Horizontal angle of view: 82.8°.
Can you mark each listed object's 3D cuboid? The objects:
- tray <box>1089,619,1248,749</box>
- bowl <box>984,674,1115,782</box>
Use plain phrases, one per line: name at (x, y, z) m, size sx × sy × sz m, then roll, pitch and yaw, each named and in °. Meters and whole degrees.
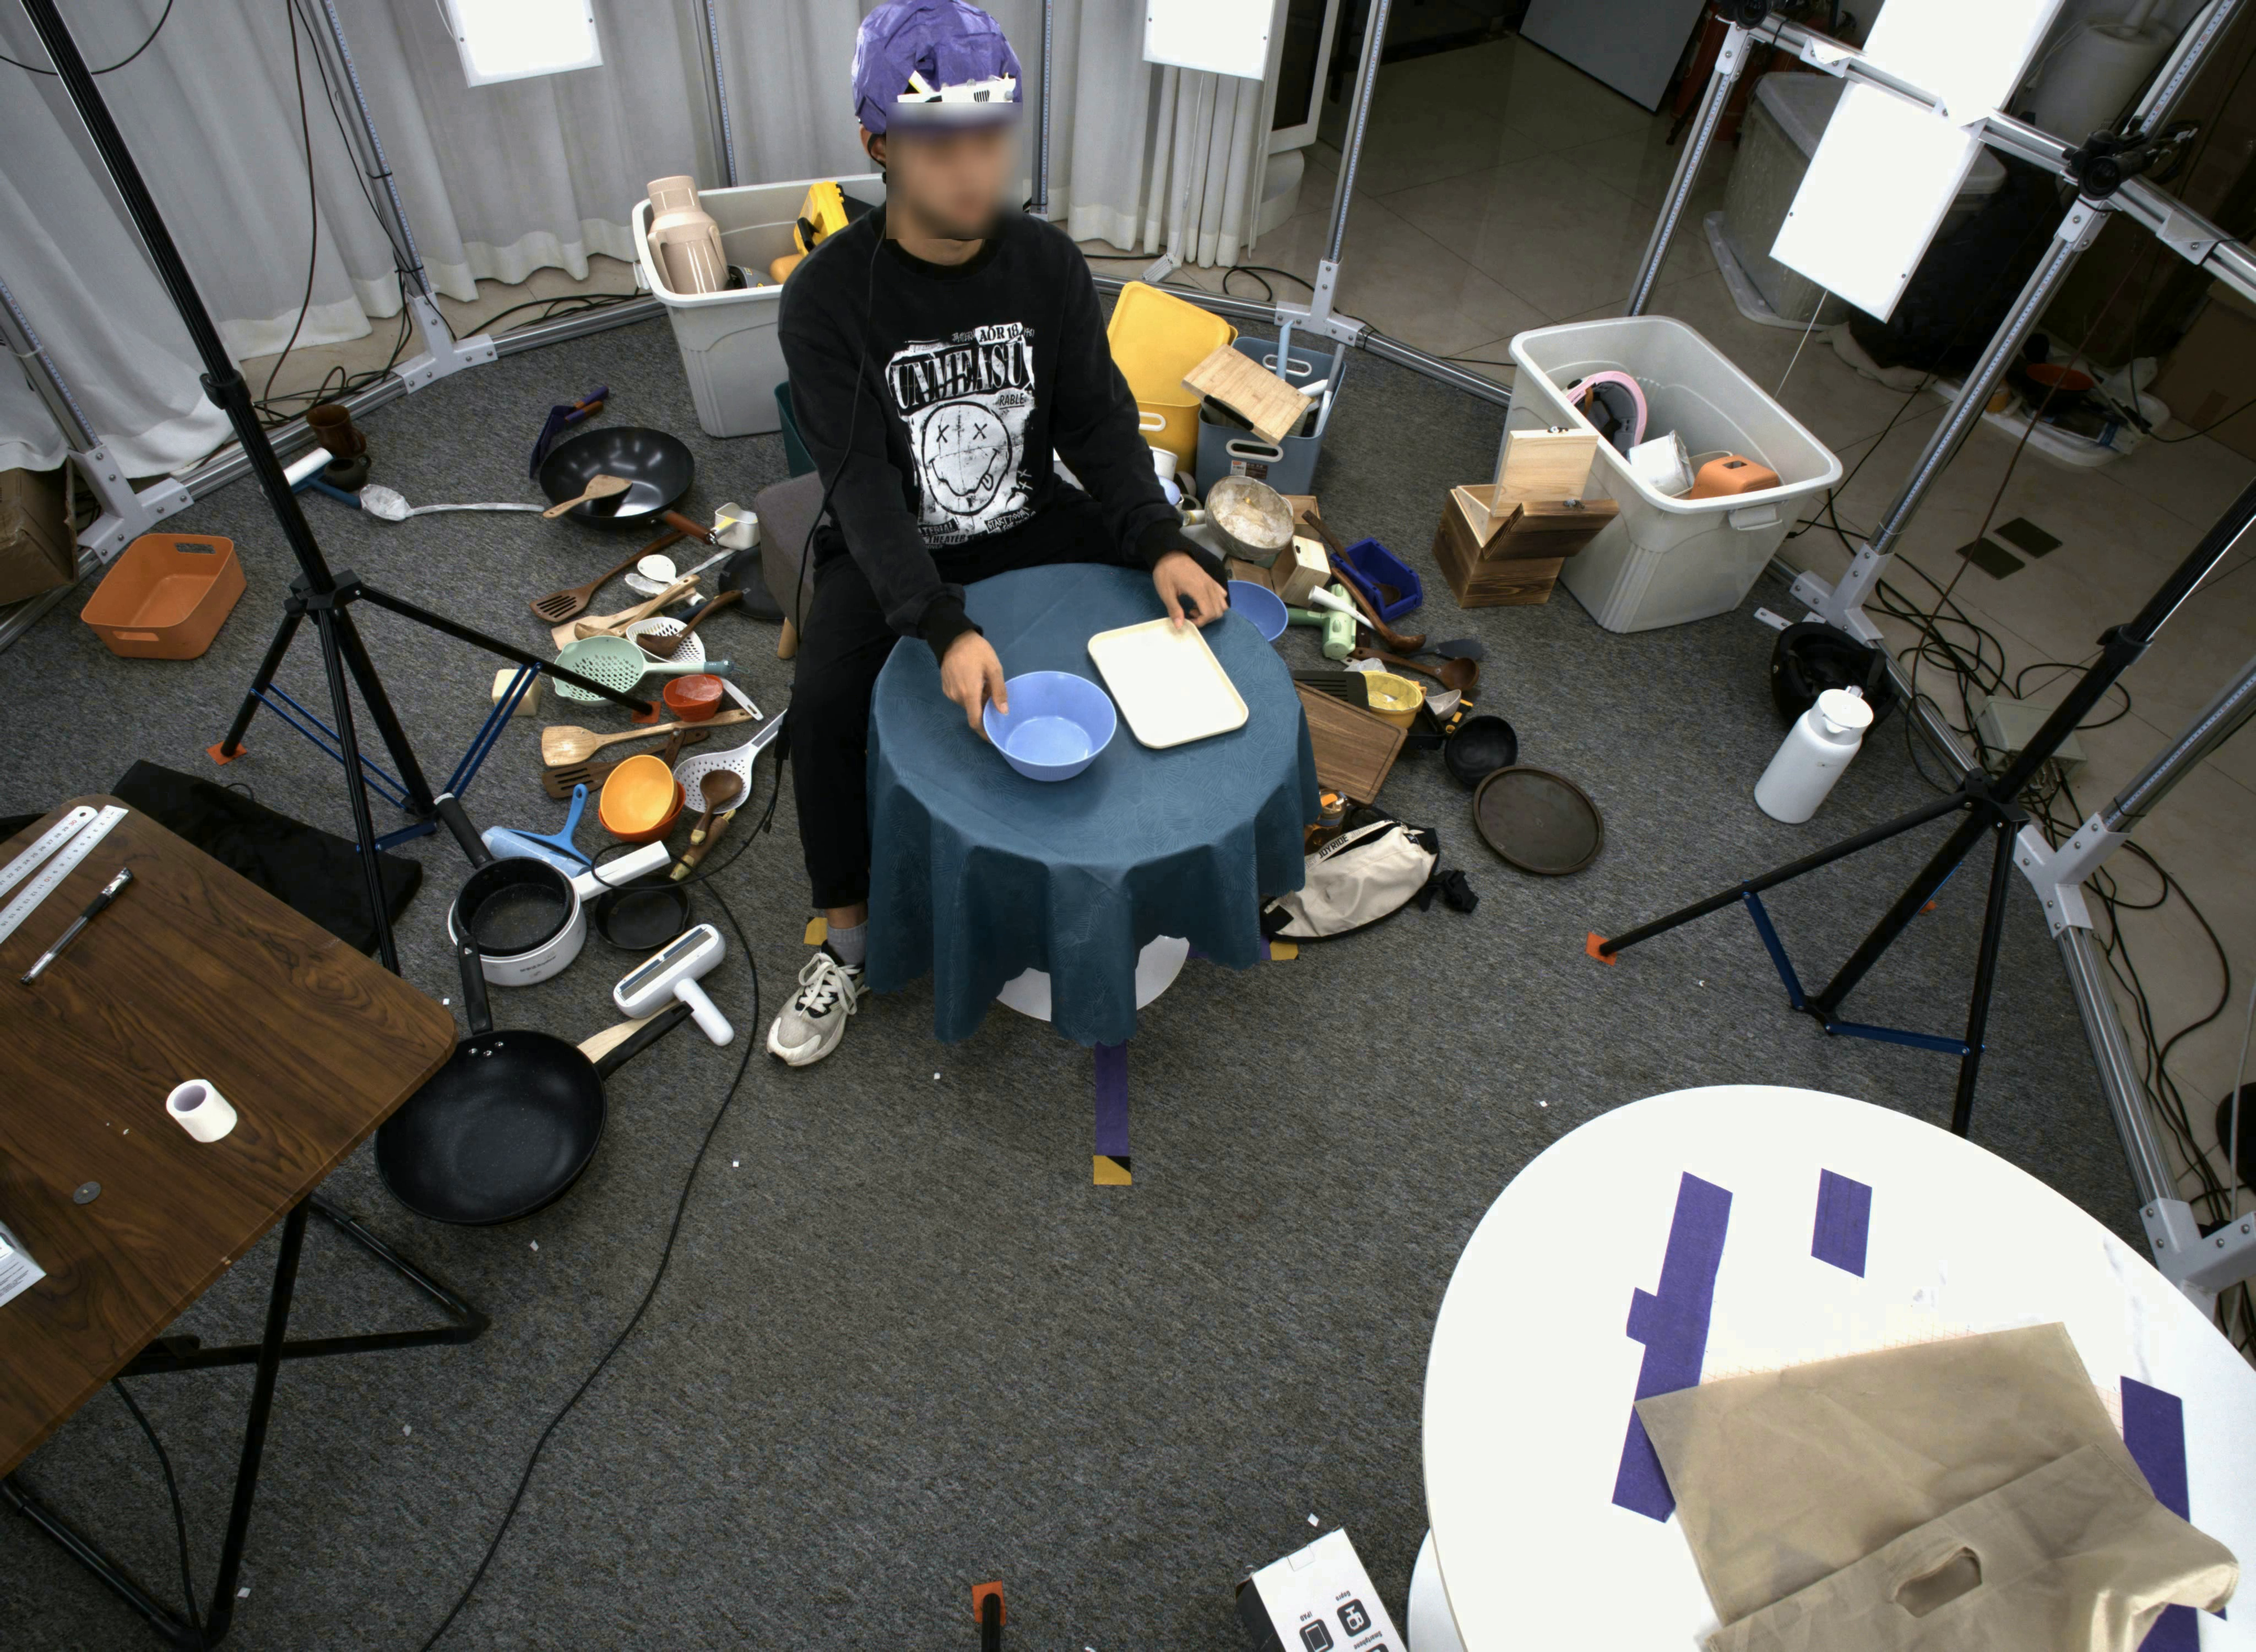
tray at (0.056, -0.207, 1.857) m, size 0.171 × 0.017 × 0.245 m, roll -15°, pitch 51°, yaw -17°
bowl at (-0.106, -0.123, 1.738) m, size 0.176 × 0.068 × 0.180 m, roll 2°, pitch 48°, yaw -3°
